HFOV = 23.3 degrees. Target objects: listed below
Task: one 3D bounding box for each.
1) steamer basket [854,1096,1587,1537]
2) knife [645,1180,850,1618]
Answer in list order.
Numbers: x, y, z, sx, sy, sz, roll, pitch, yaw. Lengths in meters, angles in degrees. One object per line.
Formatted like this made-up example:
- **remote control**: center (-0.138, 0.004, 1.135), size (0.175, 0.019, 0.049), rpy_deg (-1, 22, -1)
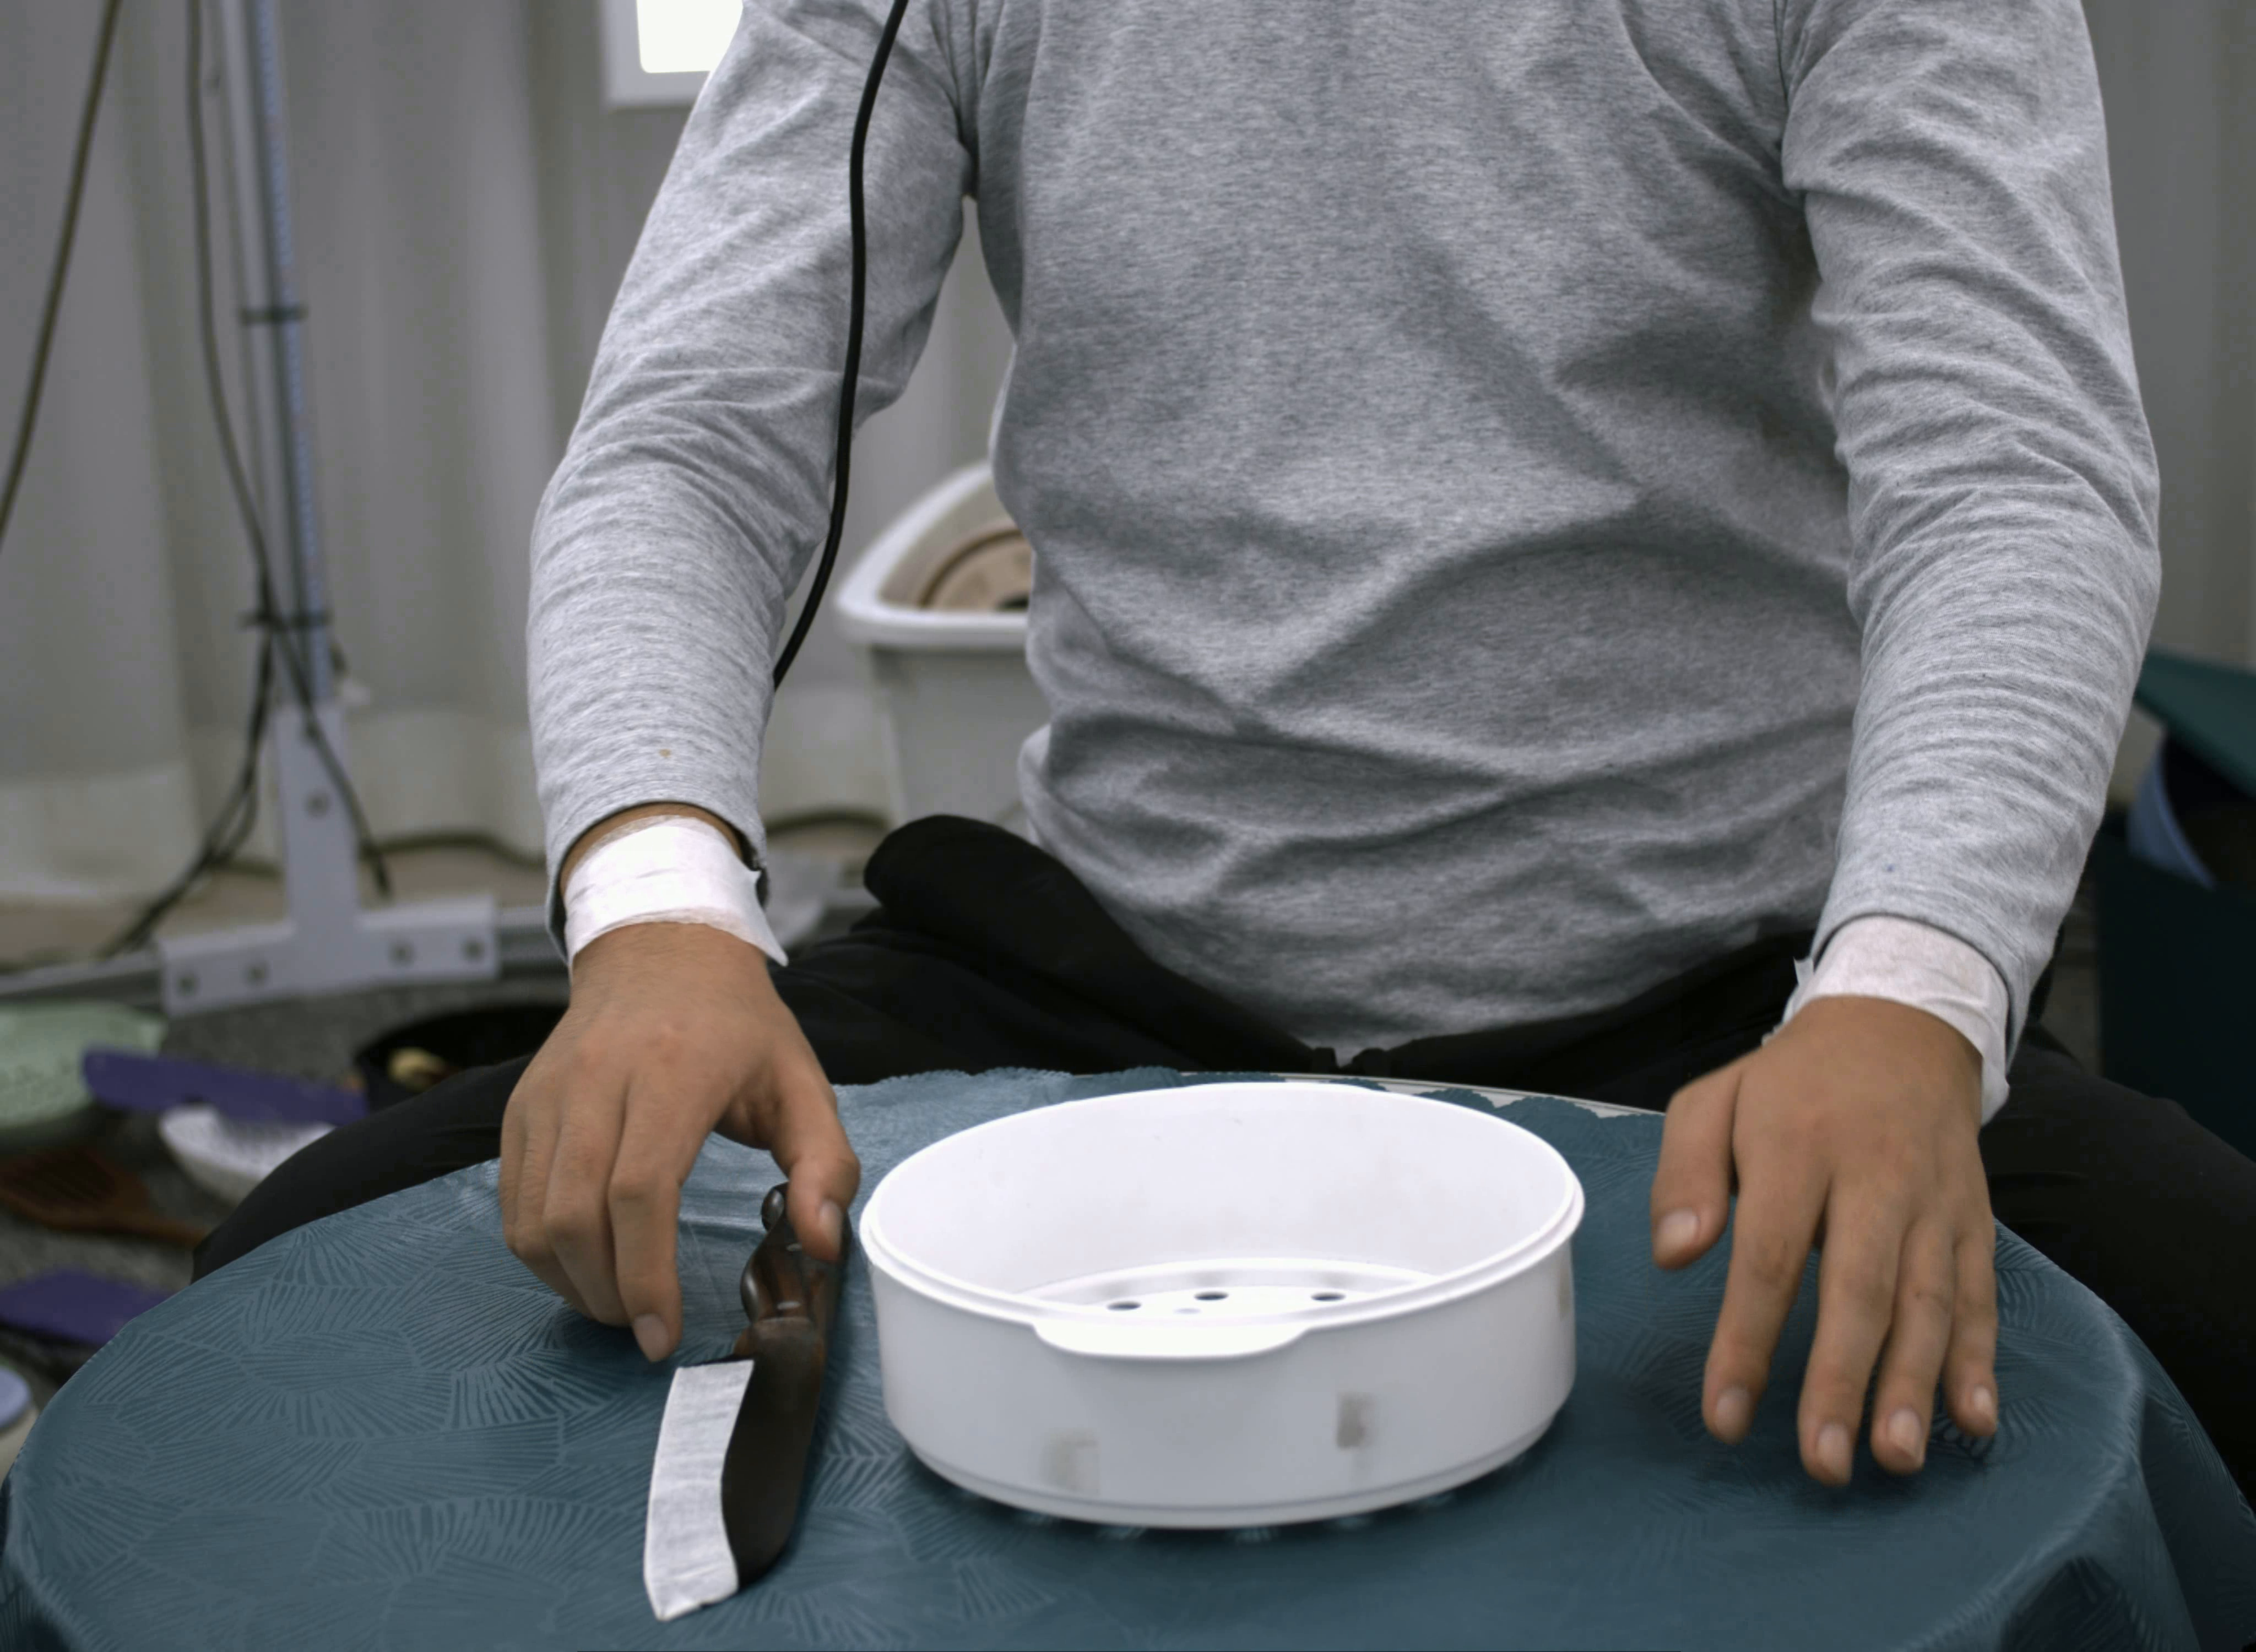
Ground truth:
- **steamer basket**: center (0.026, 0.135, 1.509), size (0.201, 0.069, 0.231), rpy_deg (0, 14, 10)
- **knife**: center (-0.106, 0.160, 1.538), size (0.050, 0.020, 0.291), rpy_deg (-6, 17, 6)
